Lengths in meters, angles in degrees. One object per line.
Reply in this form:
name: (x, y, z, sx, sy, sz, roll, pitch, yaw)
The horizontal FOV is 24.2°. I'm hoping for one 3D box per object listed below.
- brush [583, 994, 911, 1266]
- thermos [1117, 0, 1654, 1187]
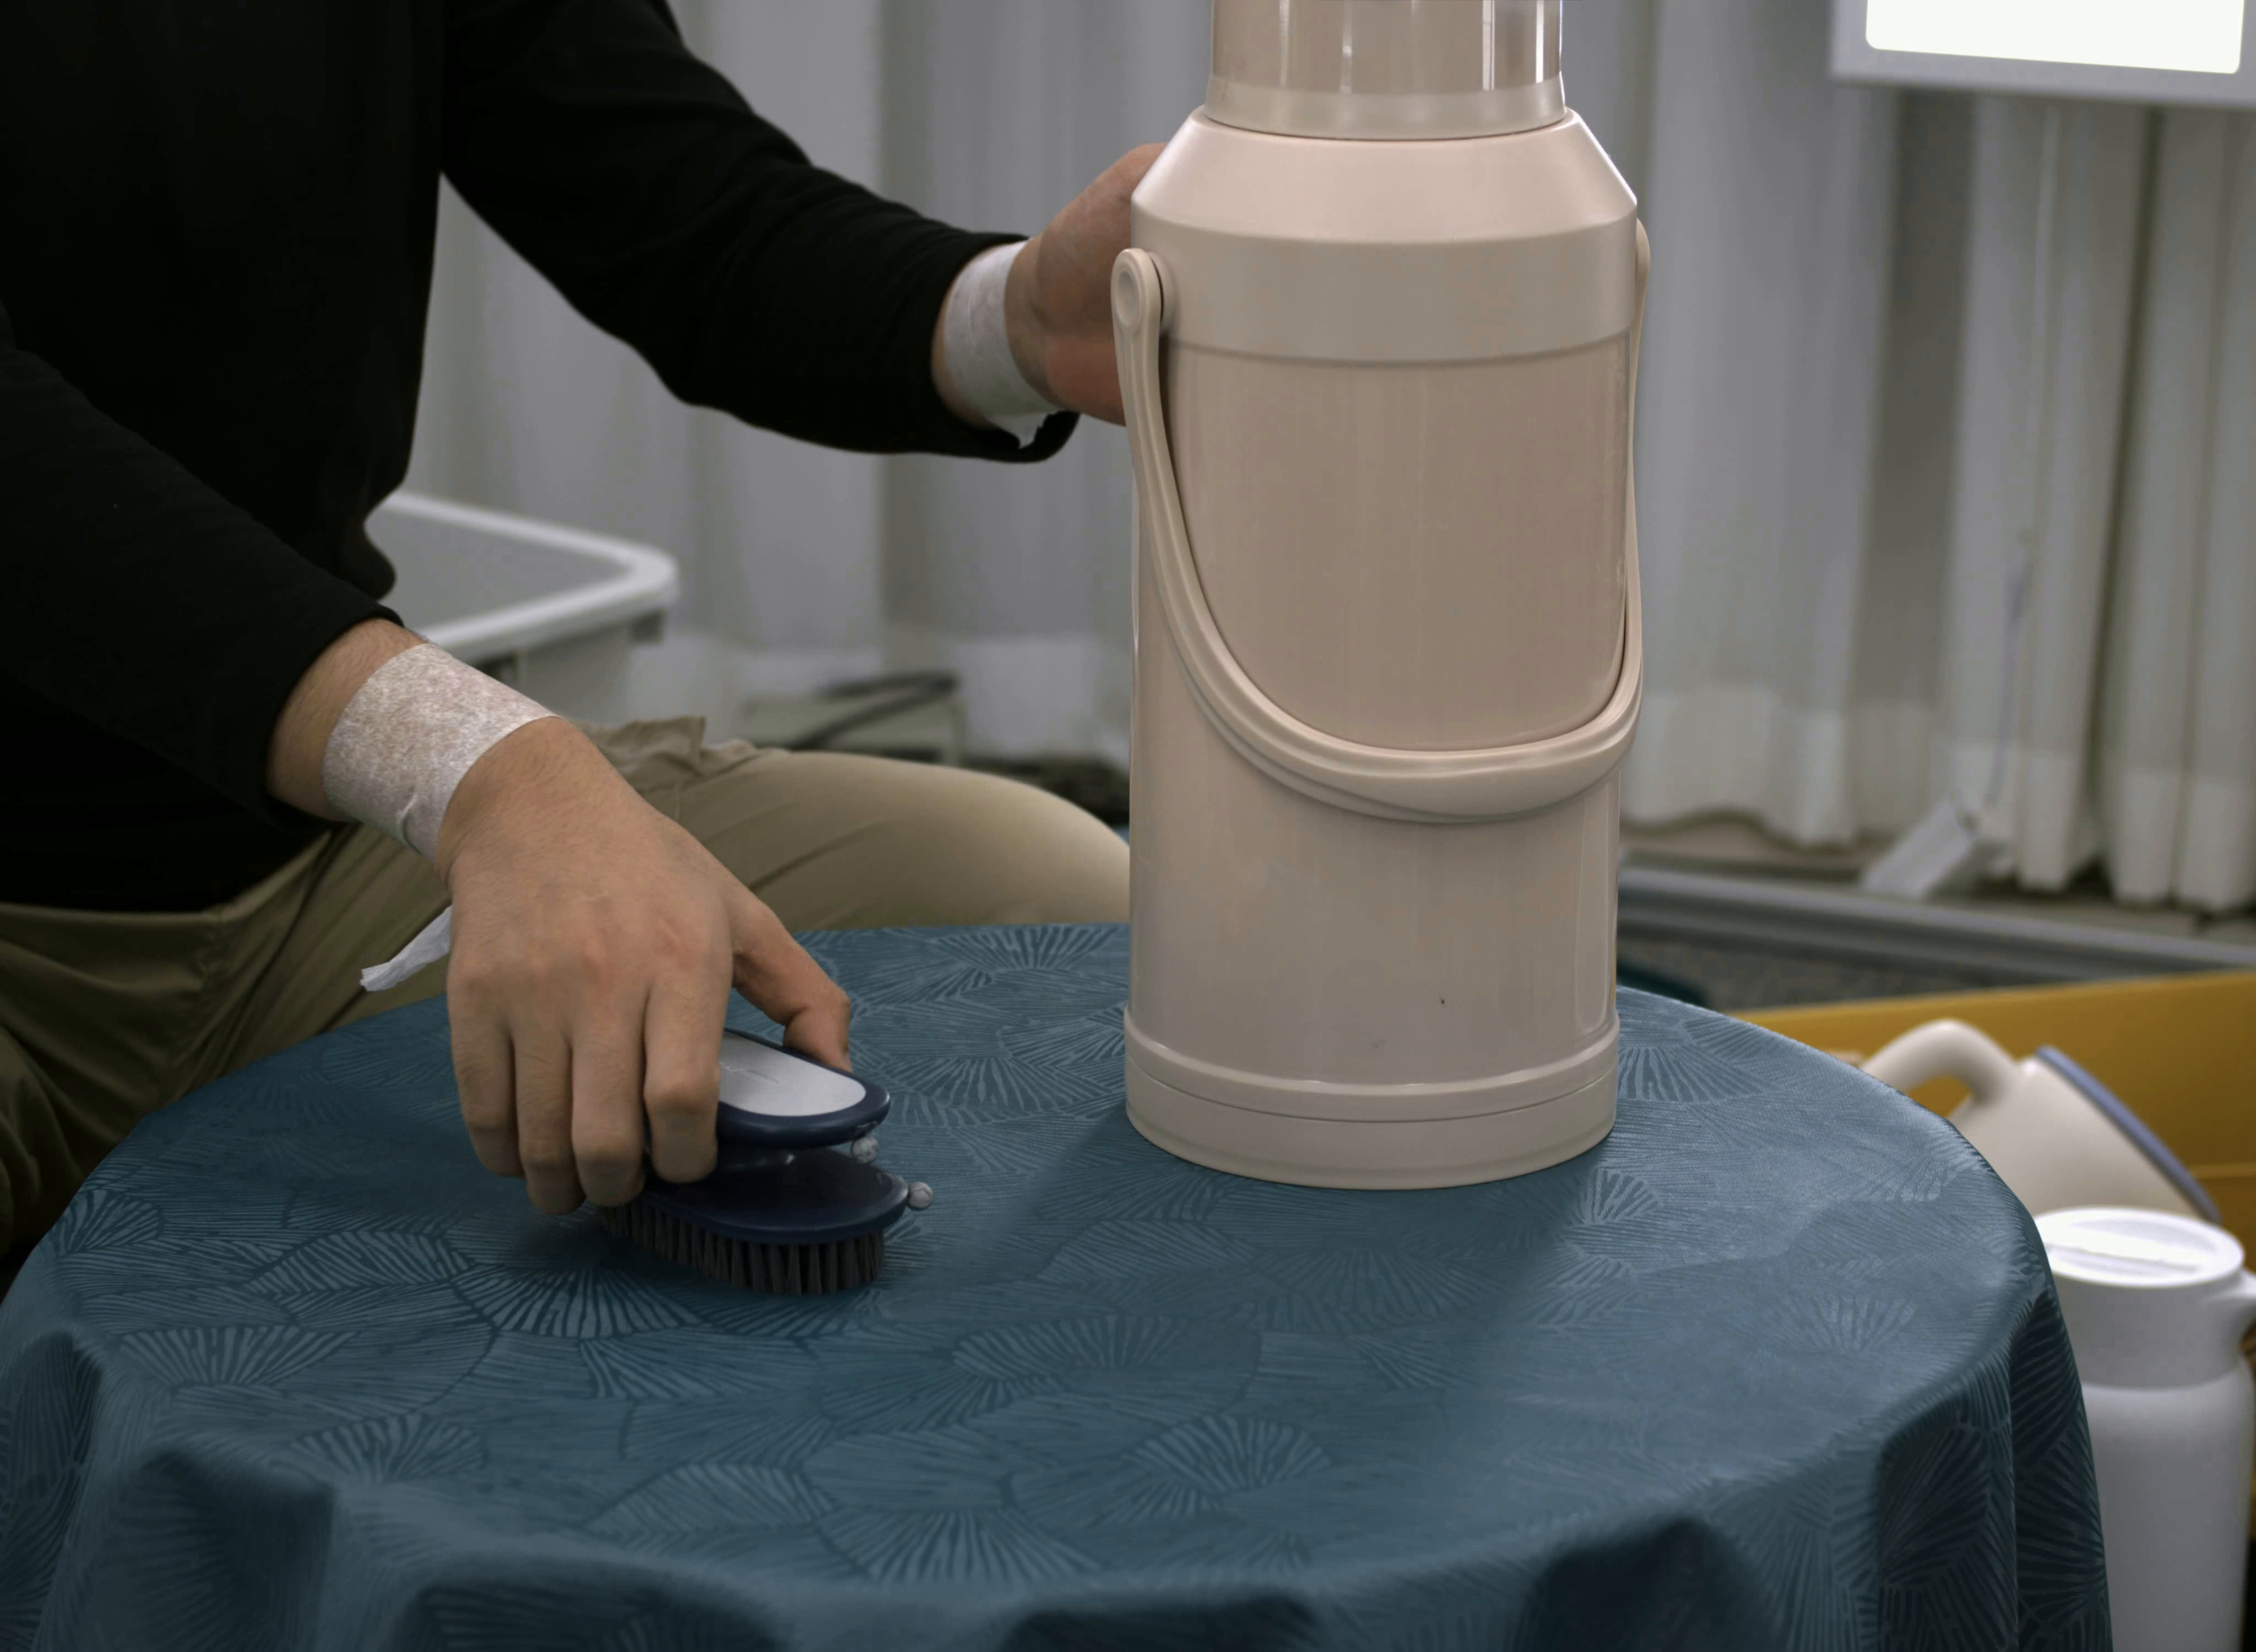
brush: (-0.114, 0.092, 1.565, 0.068, 0.062, 0.120, -13, 20, -35)
thermos: (0.076, -0.104, 1.657, 0.176, 0.410, 0.204, -9, 19, -24)
